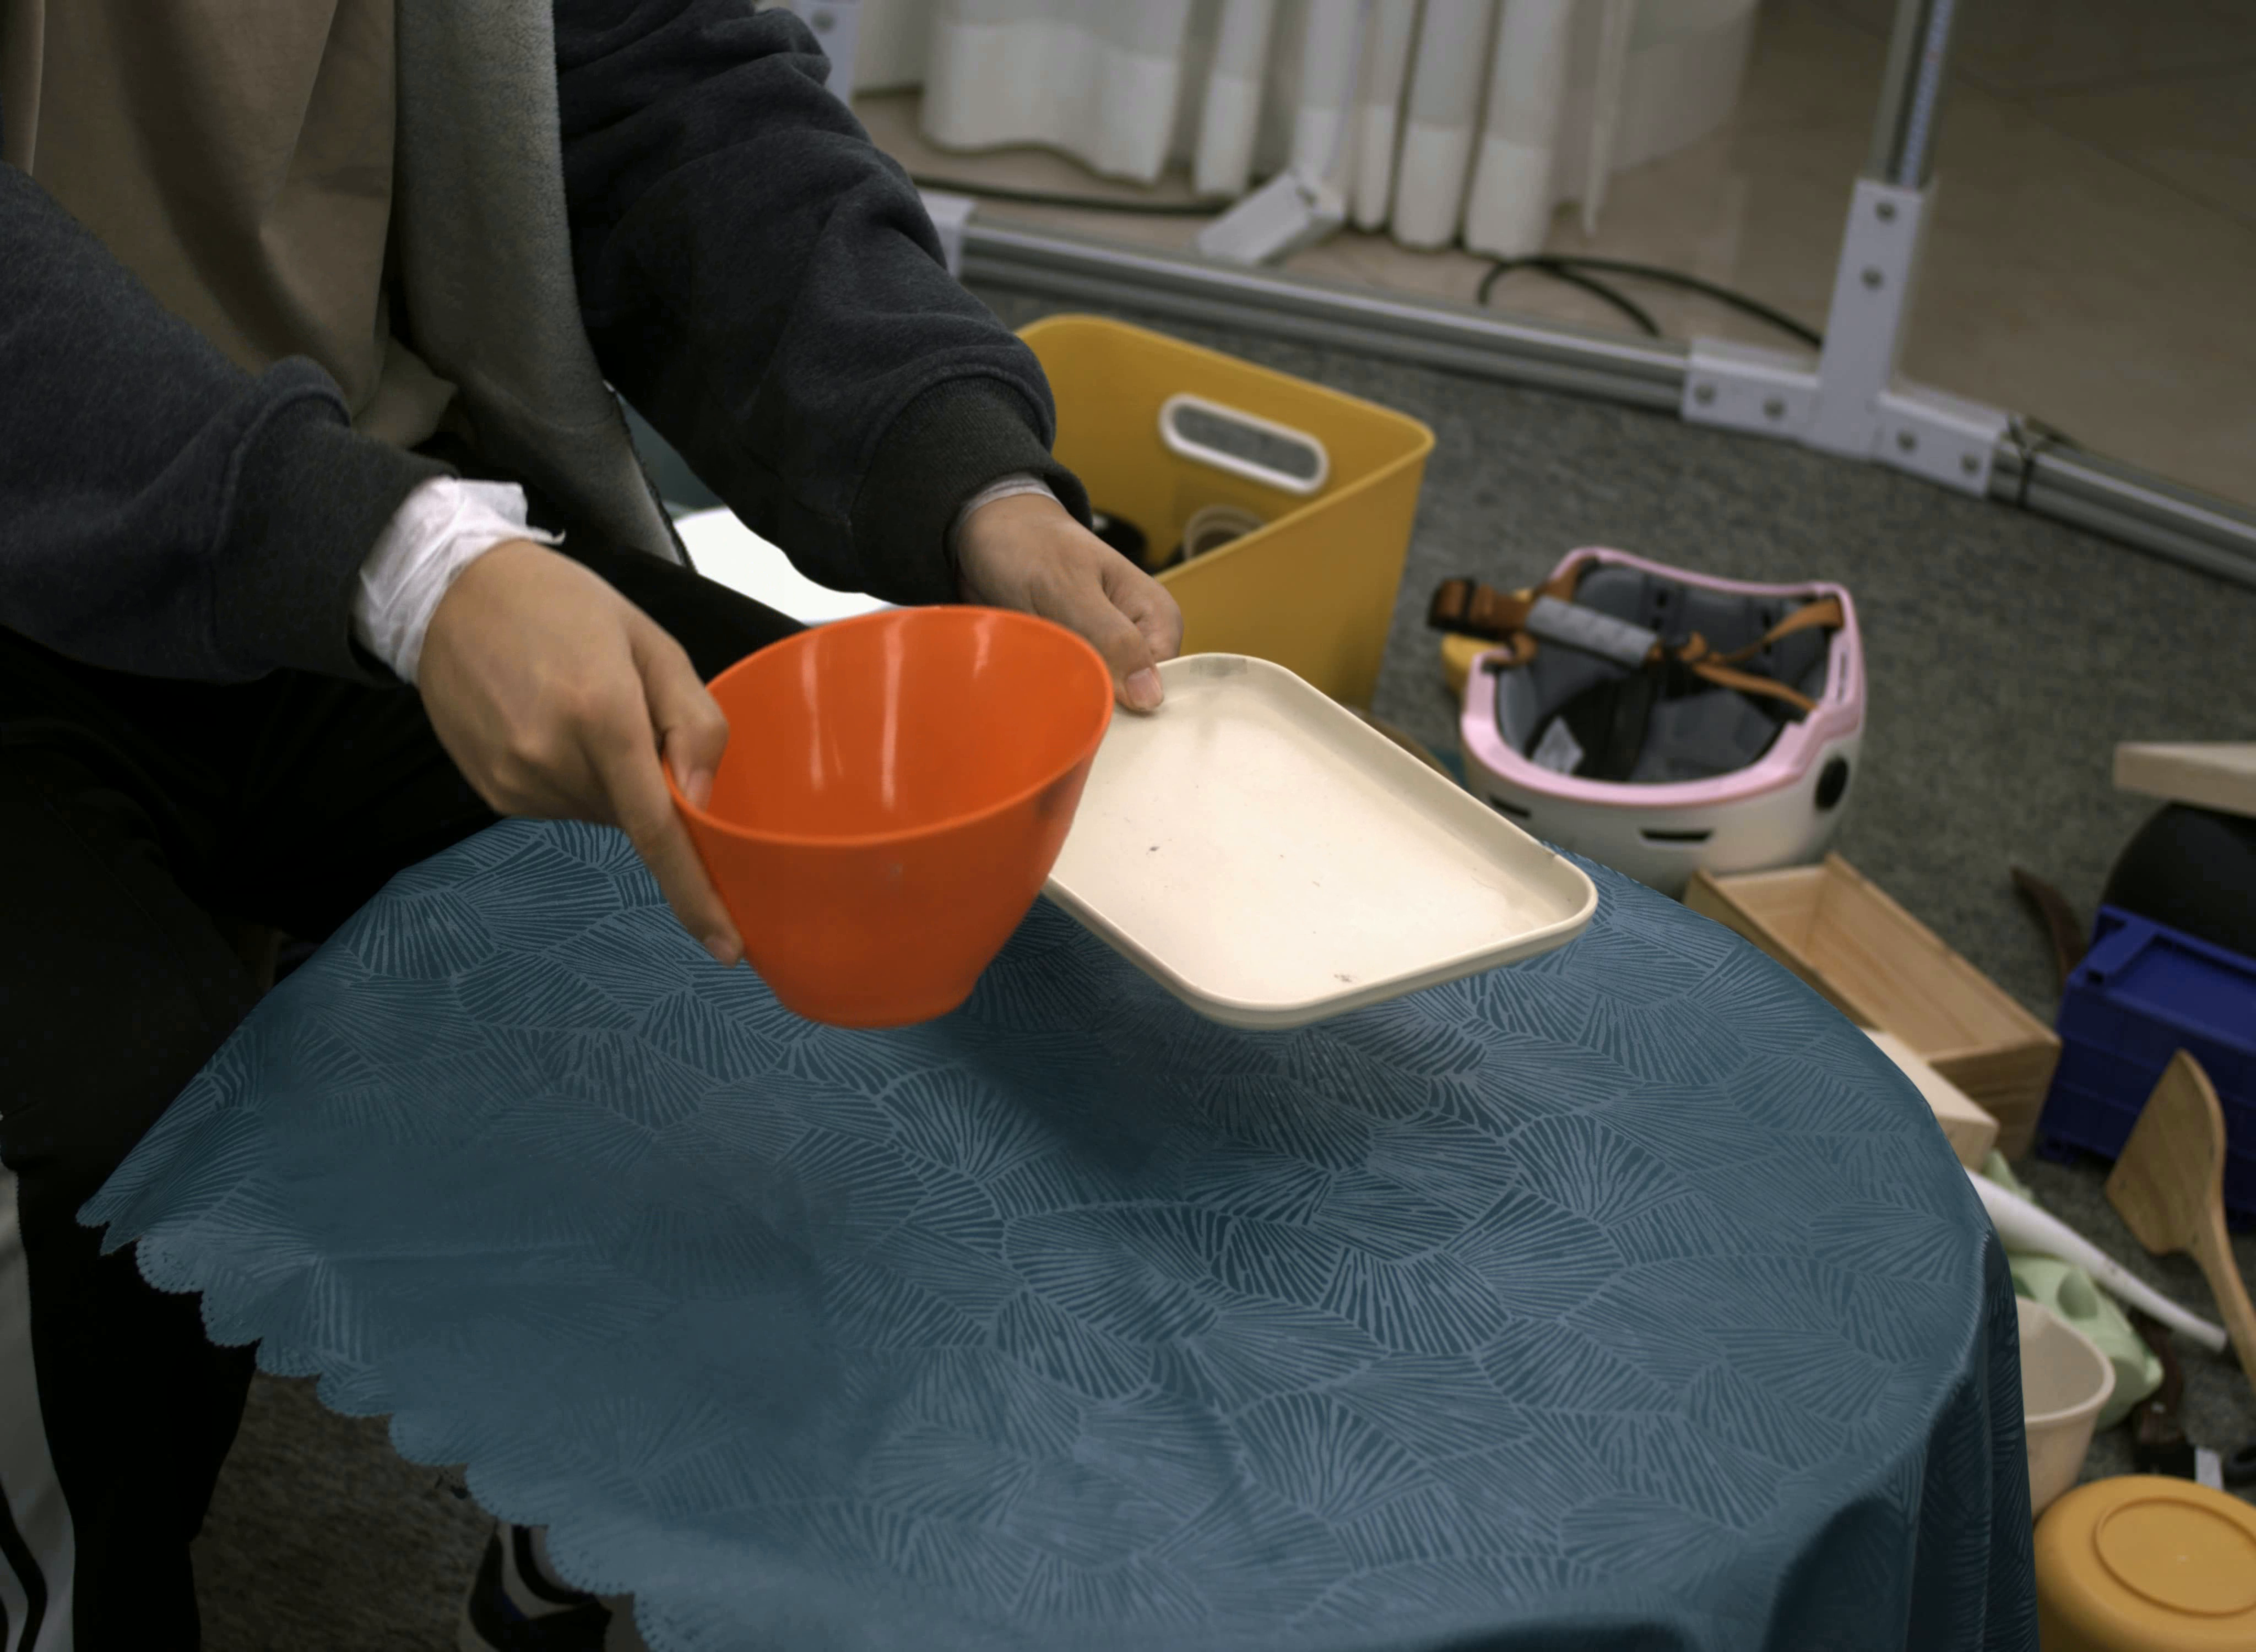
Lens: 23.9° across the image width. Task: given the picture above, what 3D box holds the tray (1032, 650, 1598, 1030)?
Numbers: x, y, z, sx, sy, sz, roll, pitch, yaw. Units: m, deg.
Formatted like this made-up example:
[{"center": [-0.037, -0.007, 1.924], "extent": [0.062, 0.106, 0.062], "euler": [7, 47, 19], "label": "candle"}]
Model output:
[{"center": [0.040, 0.003, 1.893], "extent": [0.170, 0.017, 0.242], "euler": [-15, 33, -30], "label": "tray"}]

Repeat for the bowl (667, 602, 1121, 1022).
[{"center": [-0.076, 0.000, 1.737], "extent": [0.147, 0.104, 0.149], "euler": [0, 24, 0], "label": "bowl"}]
